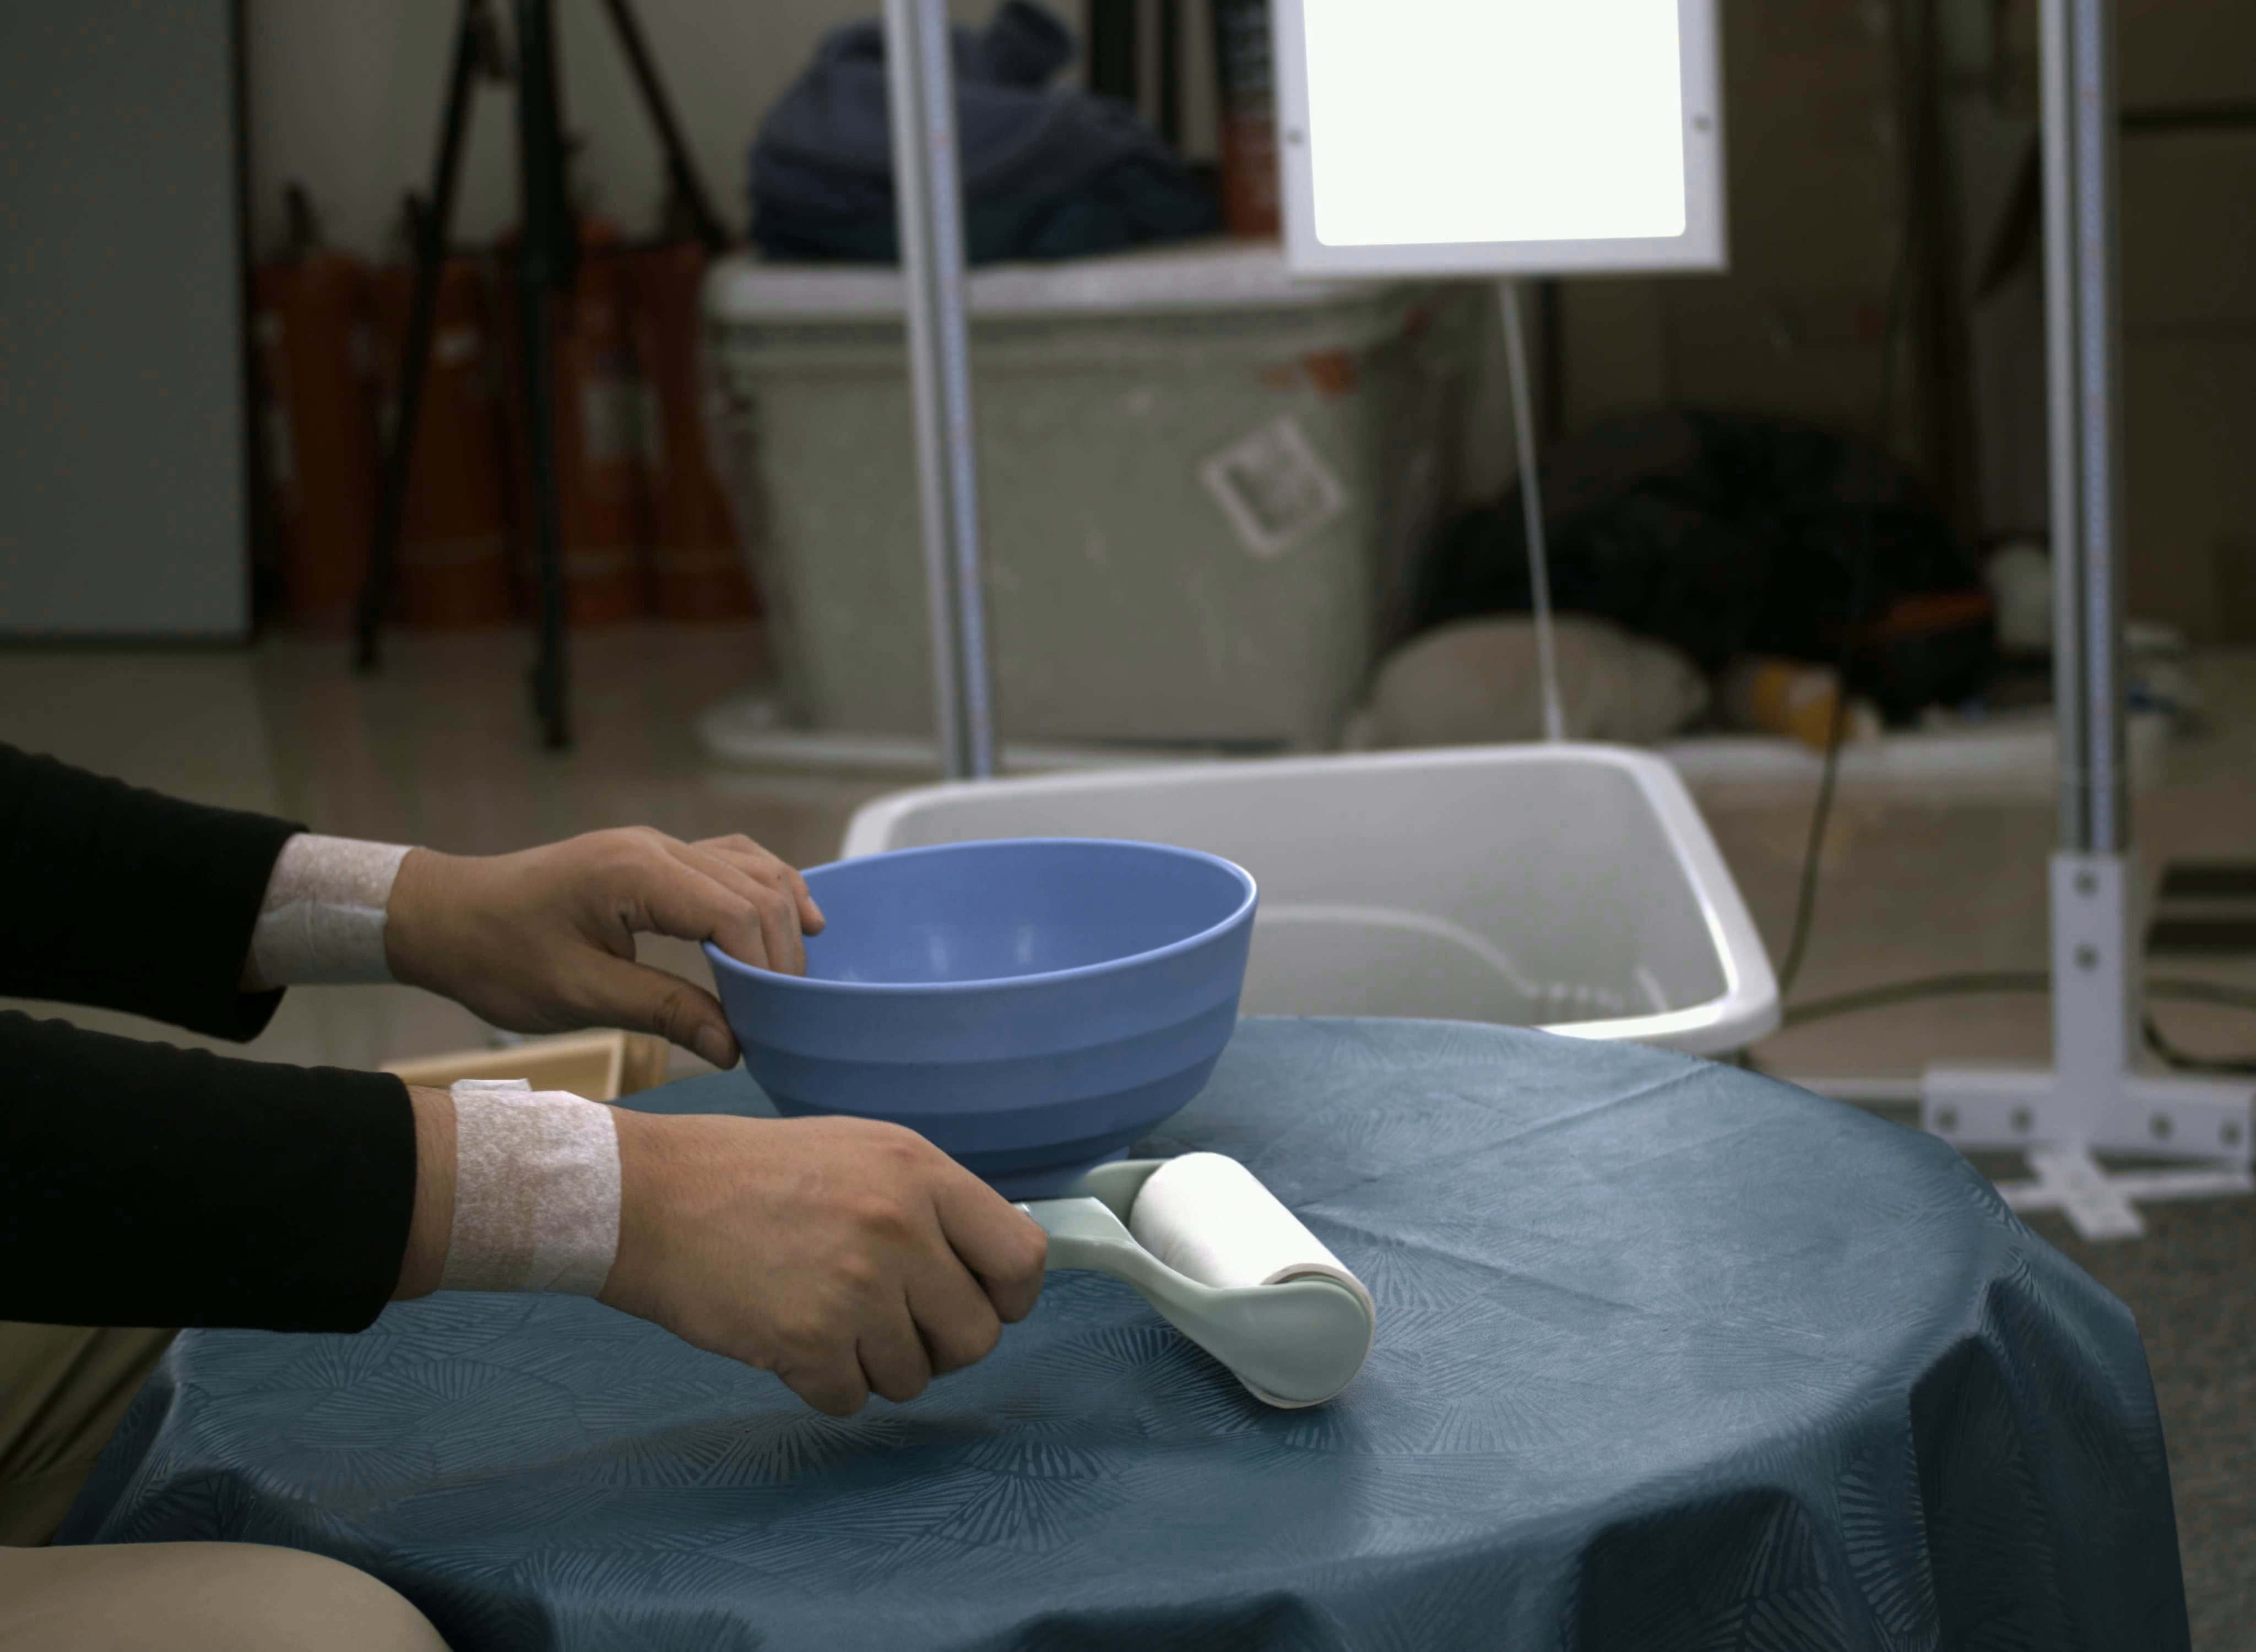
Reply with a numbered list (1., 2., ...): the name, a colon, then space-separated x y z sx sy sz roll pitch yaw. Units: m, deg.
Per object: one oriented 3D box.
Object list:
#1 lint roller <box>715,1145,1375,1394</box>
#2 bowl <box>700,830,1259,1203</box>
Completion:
1. lint roller: -0.032 0.139 1.696 0.194 0.049 0.118 -1 17 -19
2. bowl: -0.049 0.073 1.933 0.196 0.096 0.196 -5 15 0
